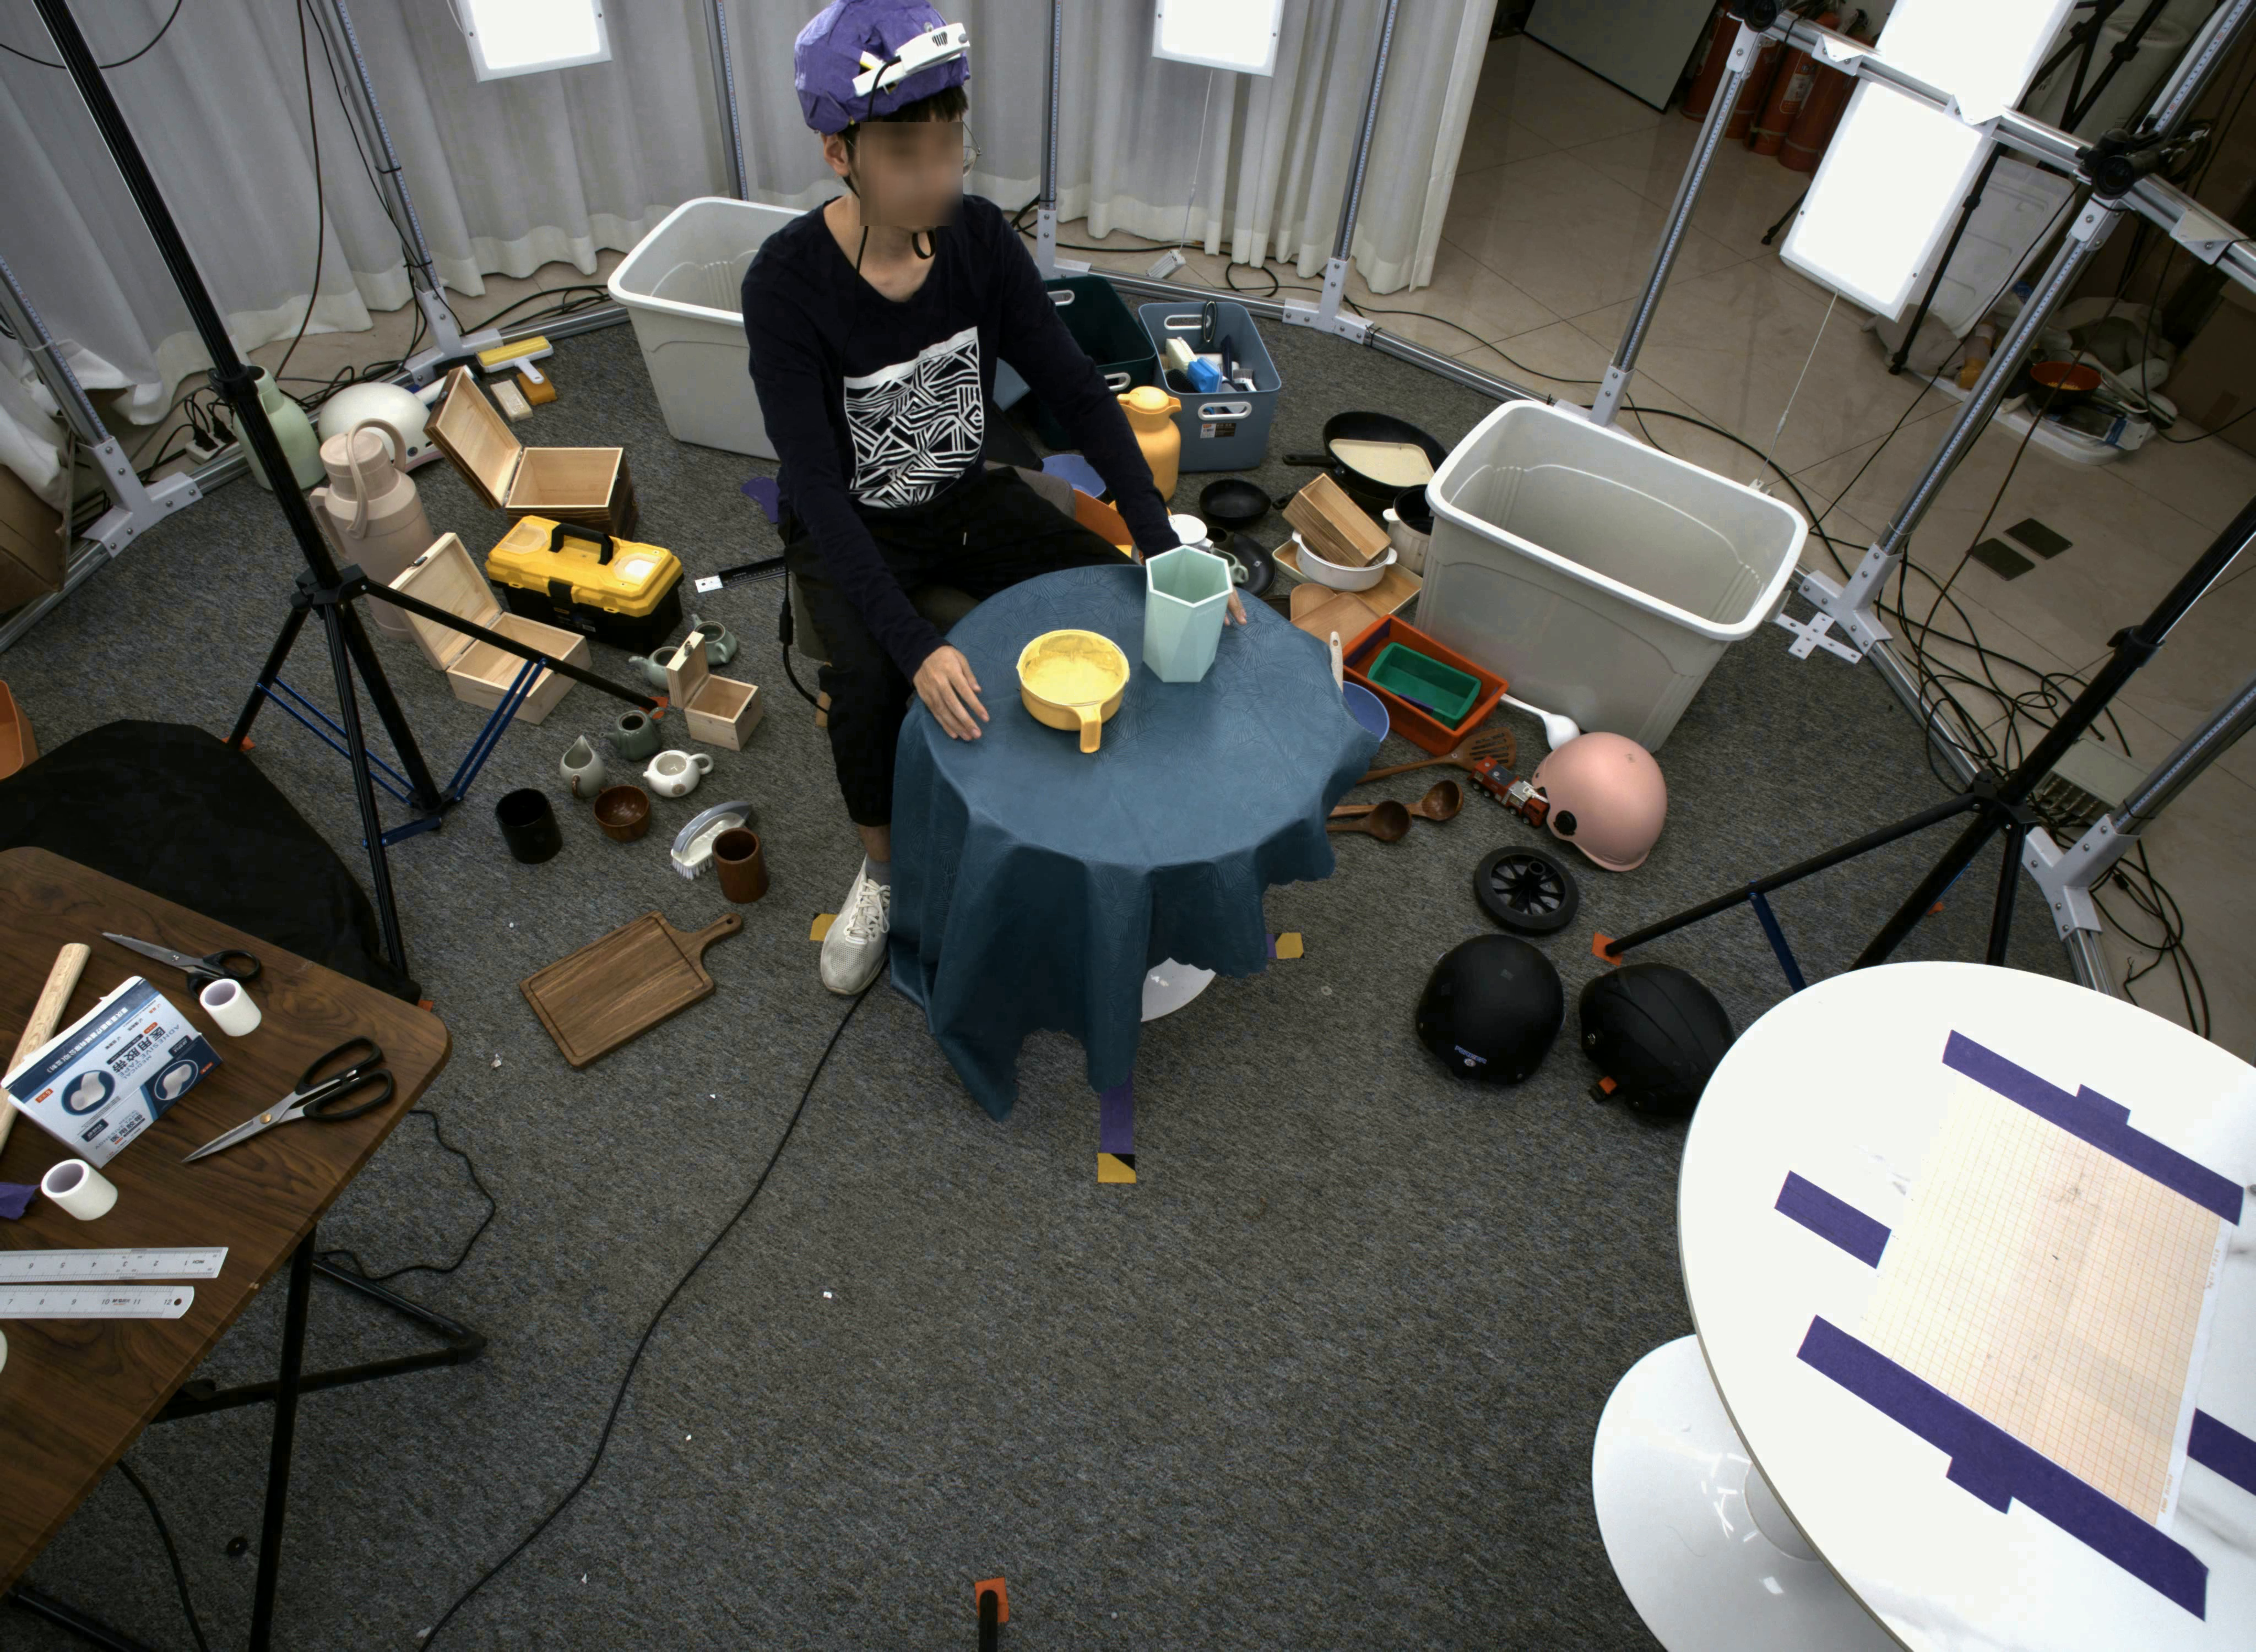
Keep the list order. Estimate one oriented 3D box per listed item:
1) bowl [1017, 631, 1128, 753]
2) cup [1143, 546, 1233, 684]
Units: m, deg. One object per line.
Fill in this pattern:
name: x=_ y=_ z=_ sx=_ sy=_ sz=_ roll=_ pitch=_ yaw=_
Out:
bowl: x=-0.073 y=-0.187 z=1.783 sx=0.153 sy=0.072 sz=0.183 roll=-13 pitch=48 yaw=-14
cup: x=0.080 y=-0.293 z=1.823 sx=0.132 sy=0.159 sz=0.117 roll=-27 pitch=54 yaw=-26
